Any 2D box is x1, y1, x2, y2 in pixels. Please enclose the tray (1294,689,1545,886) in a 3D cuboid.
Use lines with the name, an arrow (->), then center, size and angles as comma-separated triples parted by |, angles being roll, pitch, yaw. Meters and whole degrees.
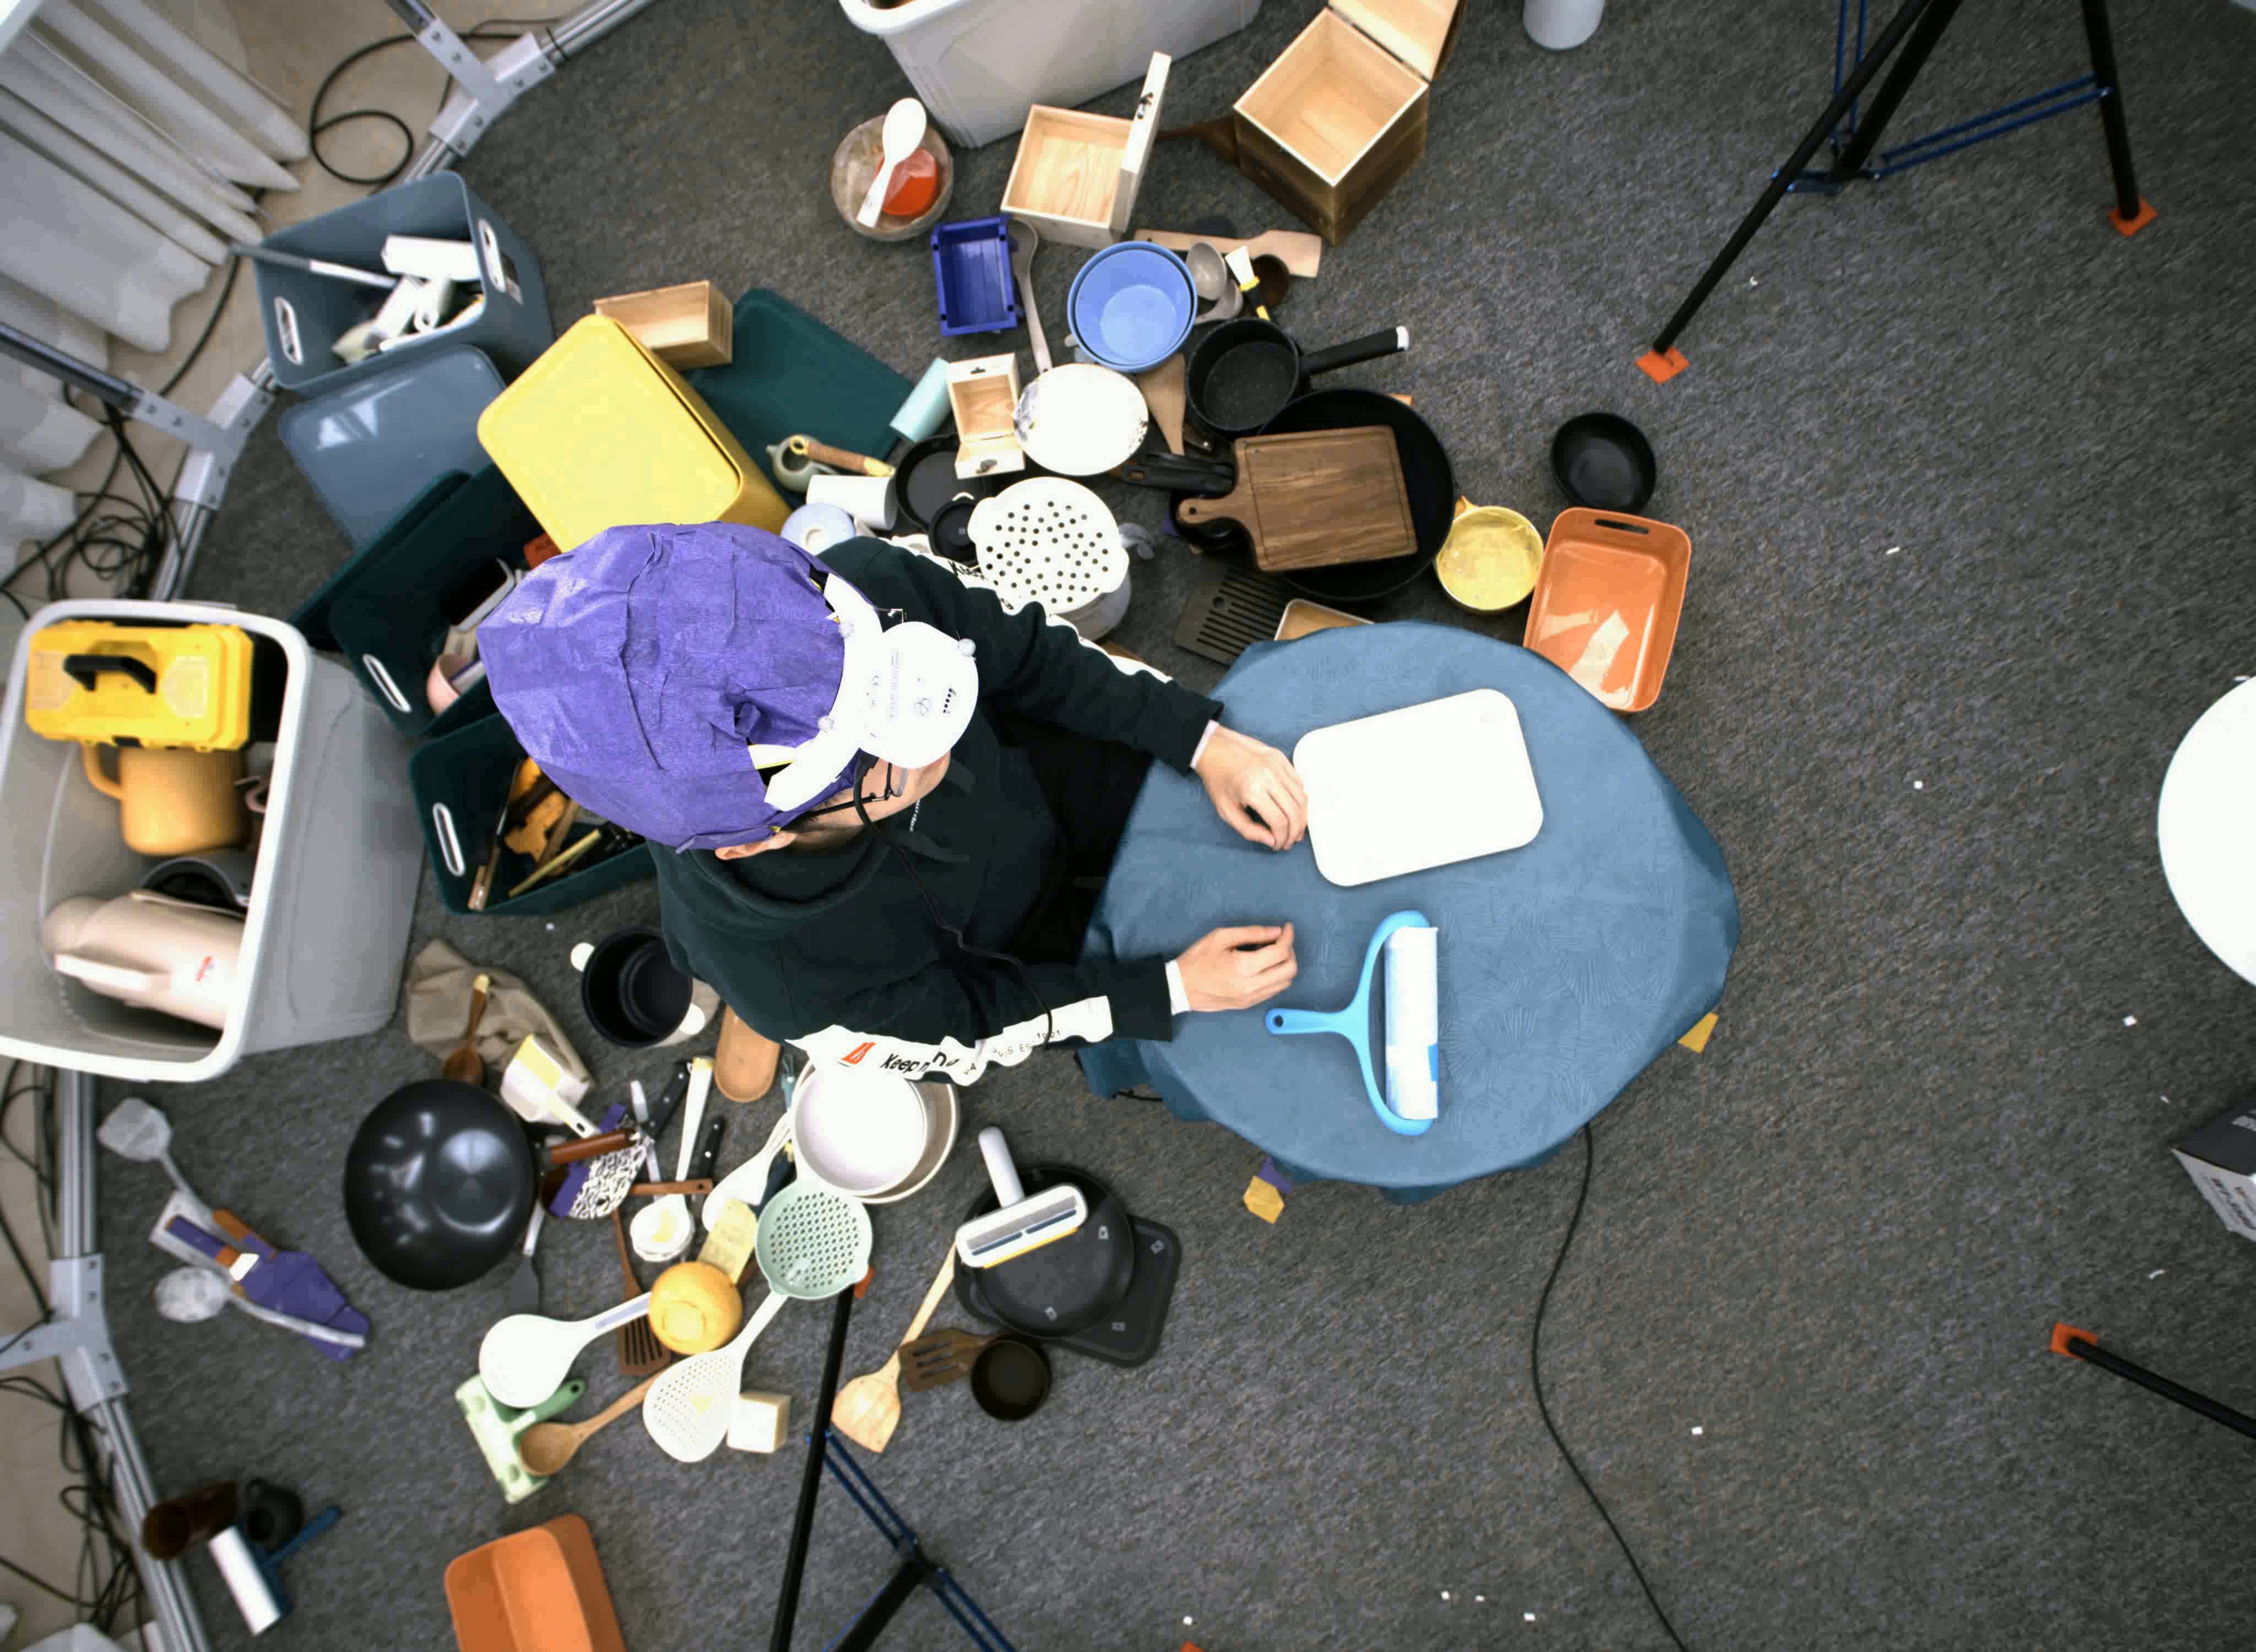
tray -> 0.304, -0.041, 1.446 | 0.241, 0.017, 0.170 | -14, 84, 10

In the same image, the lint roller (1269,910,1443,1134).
lint roller -> 0.234, 0.202, 1.426 | 0.181, 0.068, 0.228 | -4, 88, 9
